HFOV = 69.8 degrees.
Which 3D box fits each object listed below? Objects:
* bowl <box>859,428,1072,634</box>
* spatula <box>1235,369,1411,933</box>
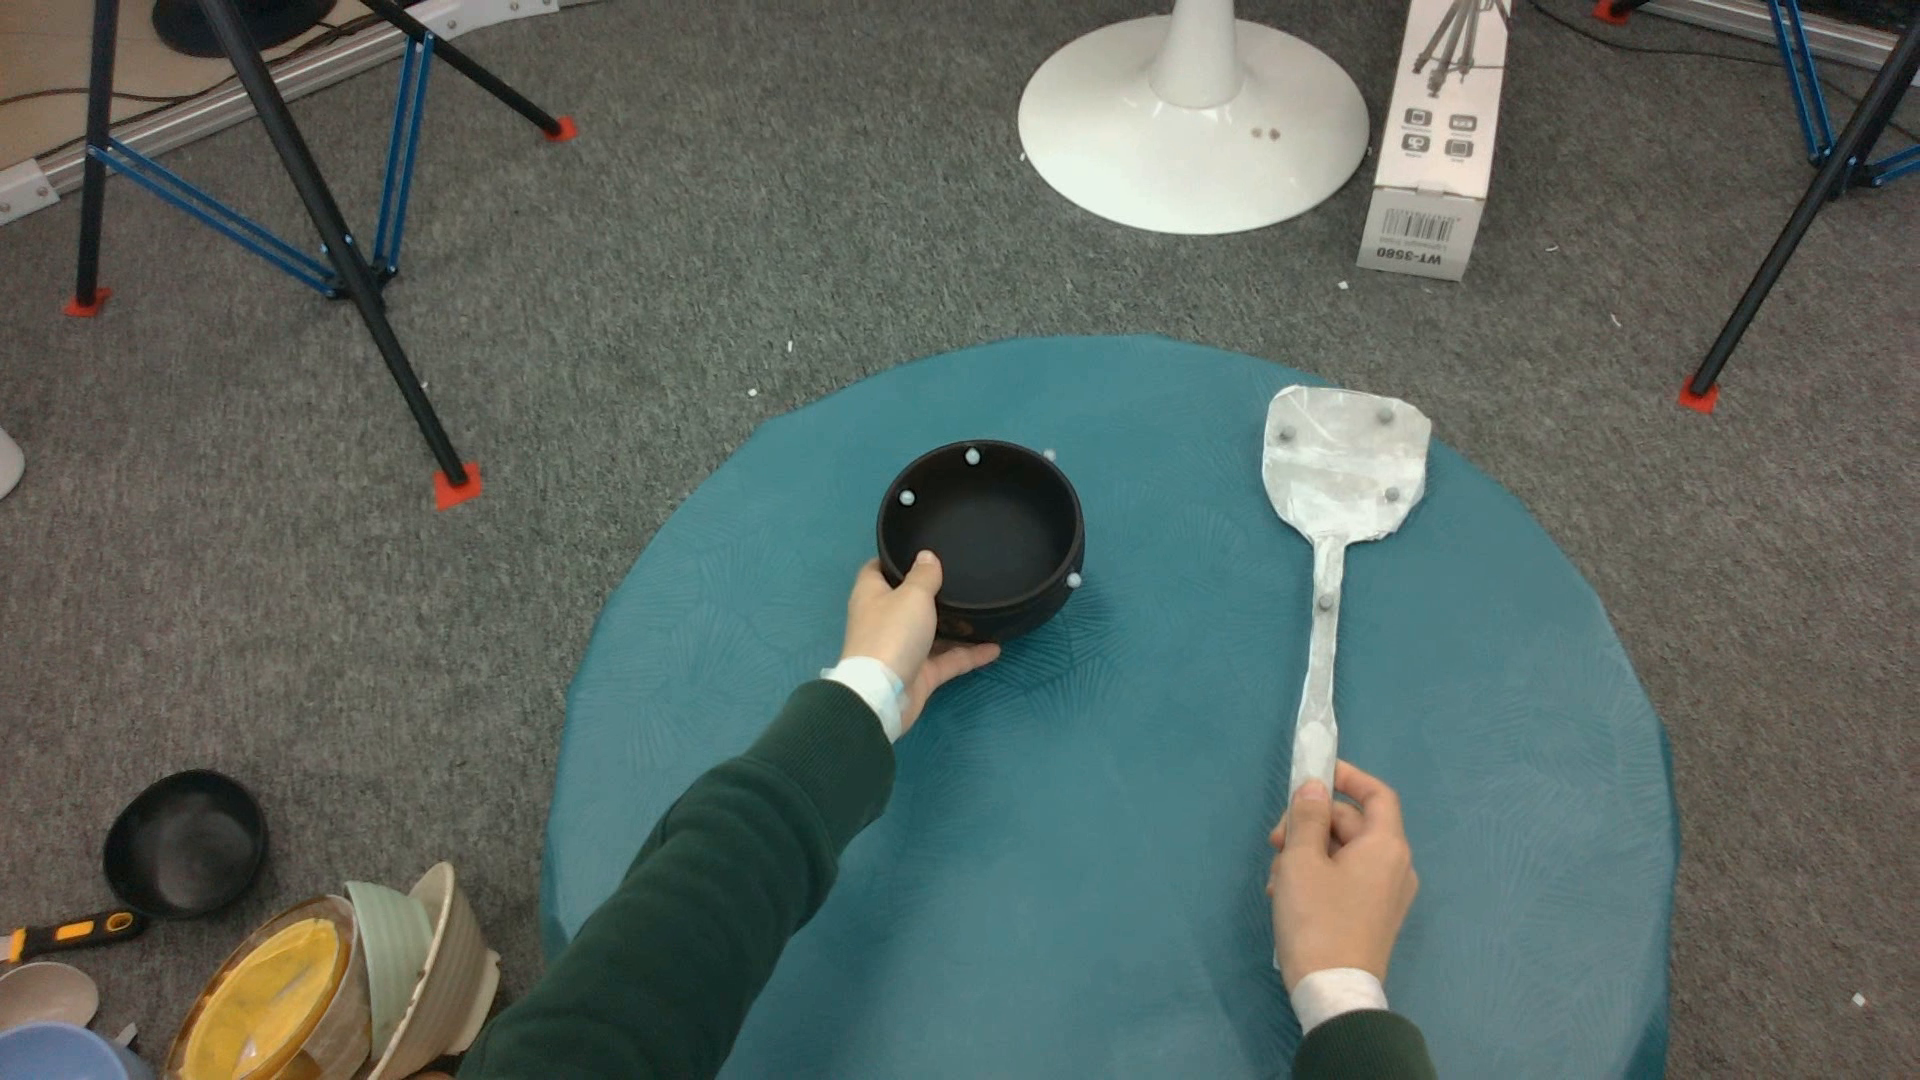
[{"bbox_3d":[0.005,0.002,0.779,0.118,0.069,0.118,-3,56,4],"label":"bowl"},{"bbox_3d":[0.189,0.044,0.759,0.098,0.044,0.367,13,50,7],"label":"spatula"}]
